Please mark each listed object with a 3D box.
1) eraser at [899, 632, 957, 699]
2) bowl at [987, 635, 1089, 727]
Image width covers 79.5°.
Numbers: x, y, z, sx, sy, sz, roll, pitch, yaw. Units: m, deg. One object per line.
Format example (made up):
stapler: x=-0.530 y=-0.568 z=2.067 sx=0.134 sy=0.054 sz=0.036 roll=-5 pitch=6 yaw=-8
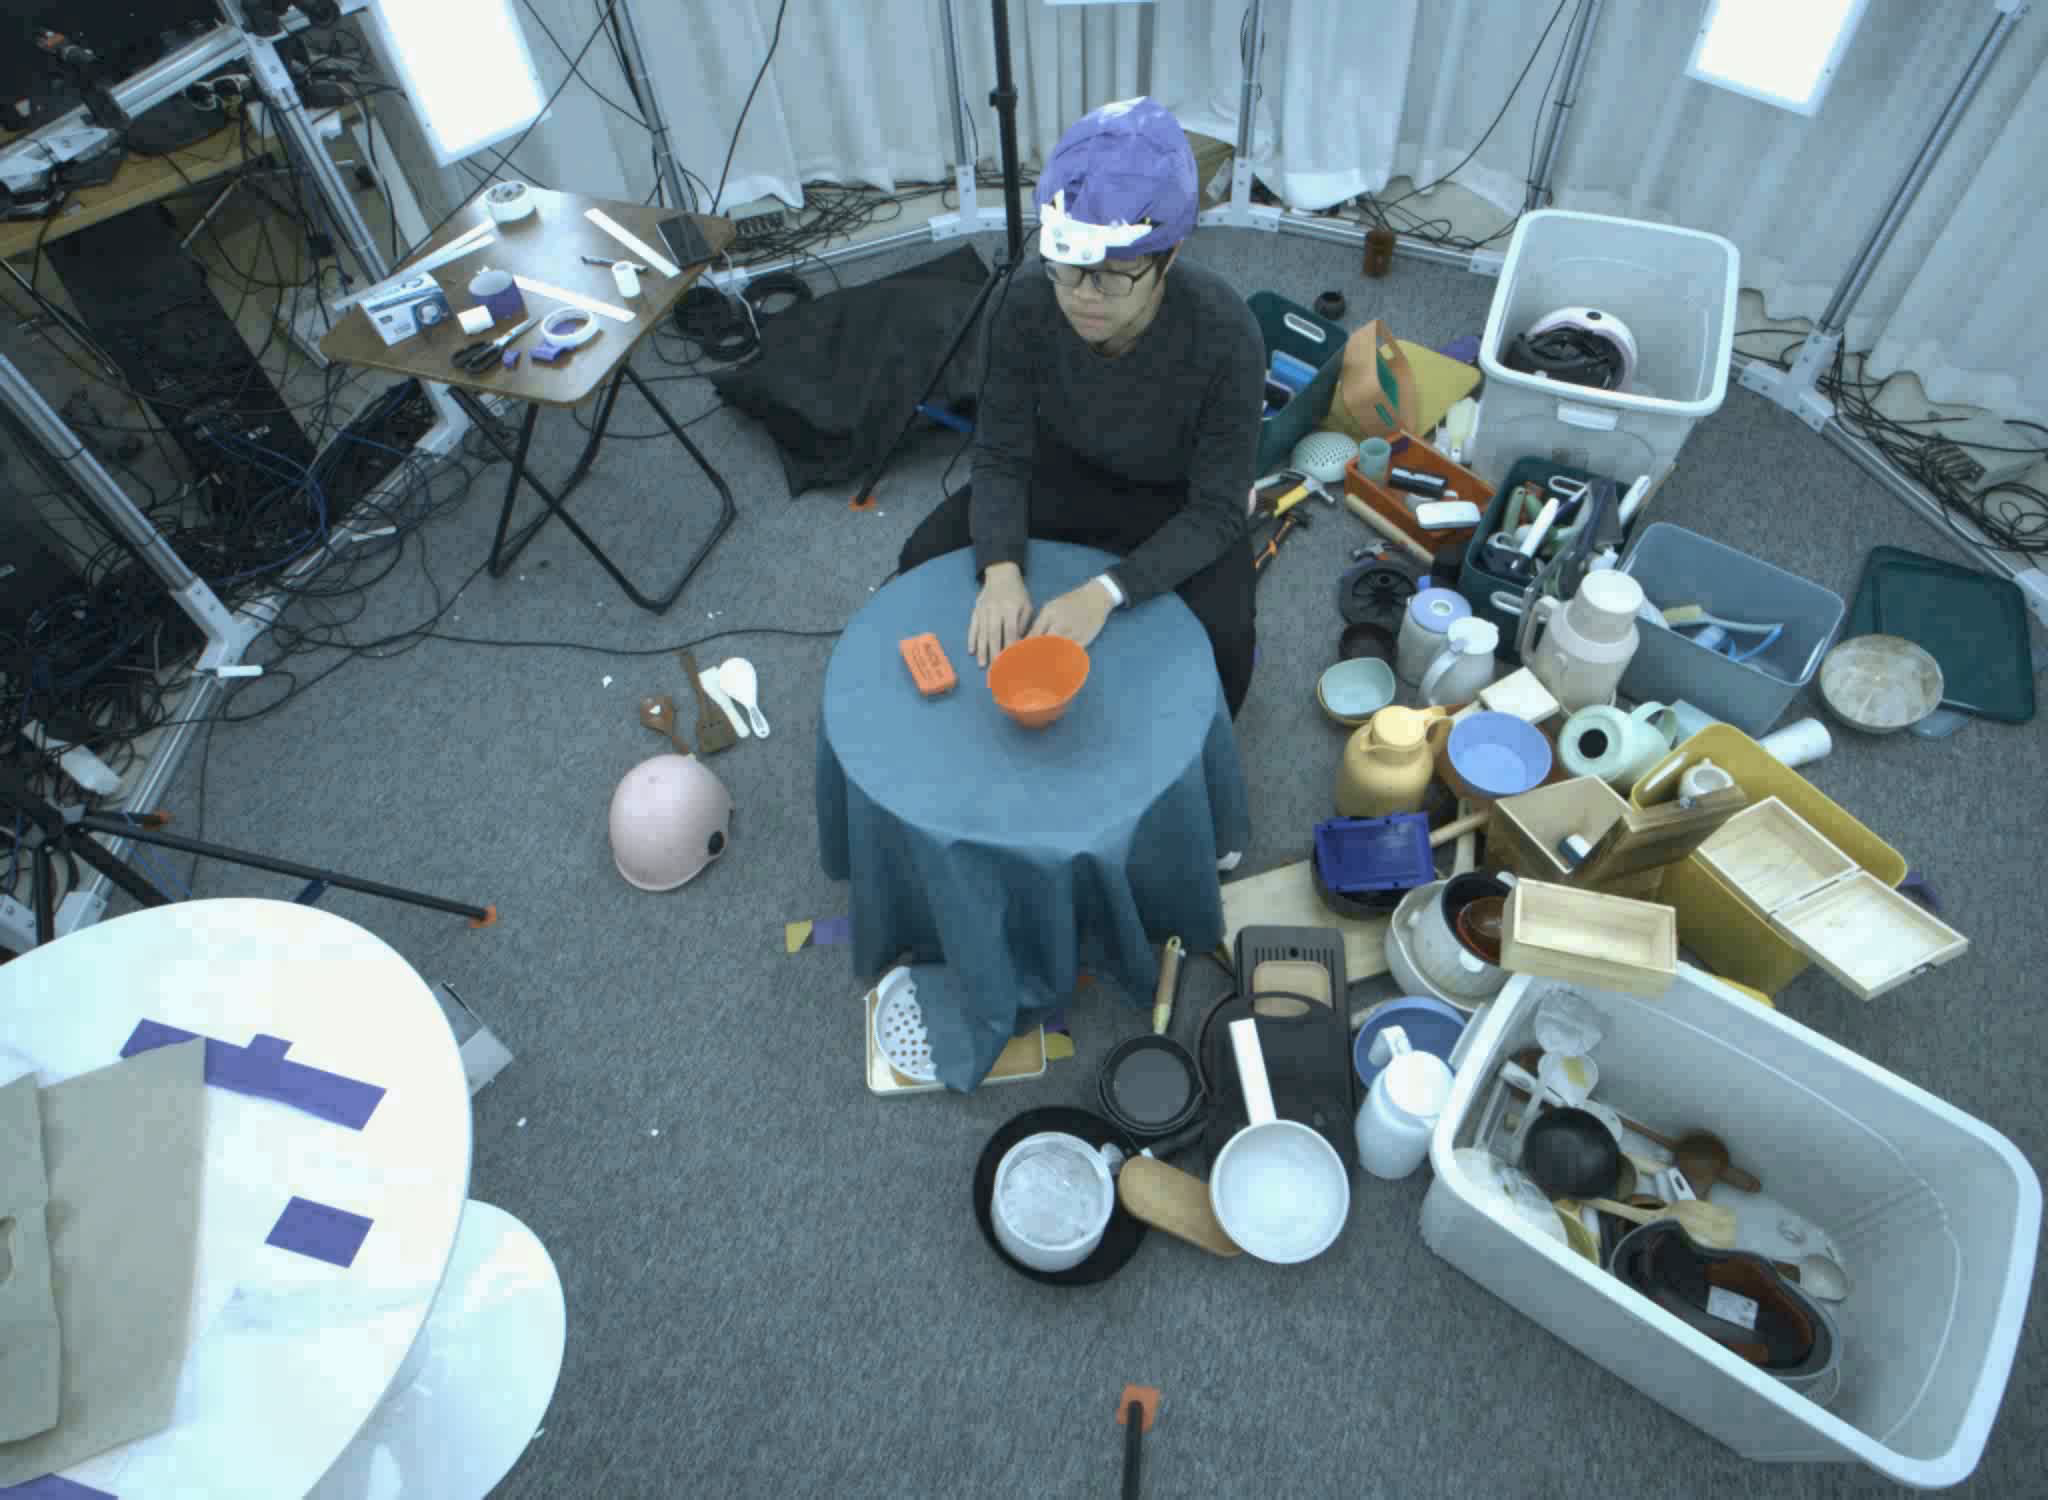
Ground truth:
eraser: x=-0.146 y=-0.130 z=1.867 sx=0.059 sy=0.023 sz=0.106 roll=-23 pitch=58 yaw=-11
bowl: x=0.021 y=-0.086 z=1.786 sx=0.148 sy=0.106 sz=0.146 roll=-1 pitch=55 yaw=2
